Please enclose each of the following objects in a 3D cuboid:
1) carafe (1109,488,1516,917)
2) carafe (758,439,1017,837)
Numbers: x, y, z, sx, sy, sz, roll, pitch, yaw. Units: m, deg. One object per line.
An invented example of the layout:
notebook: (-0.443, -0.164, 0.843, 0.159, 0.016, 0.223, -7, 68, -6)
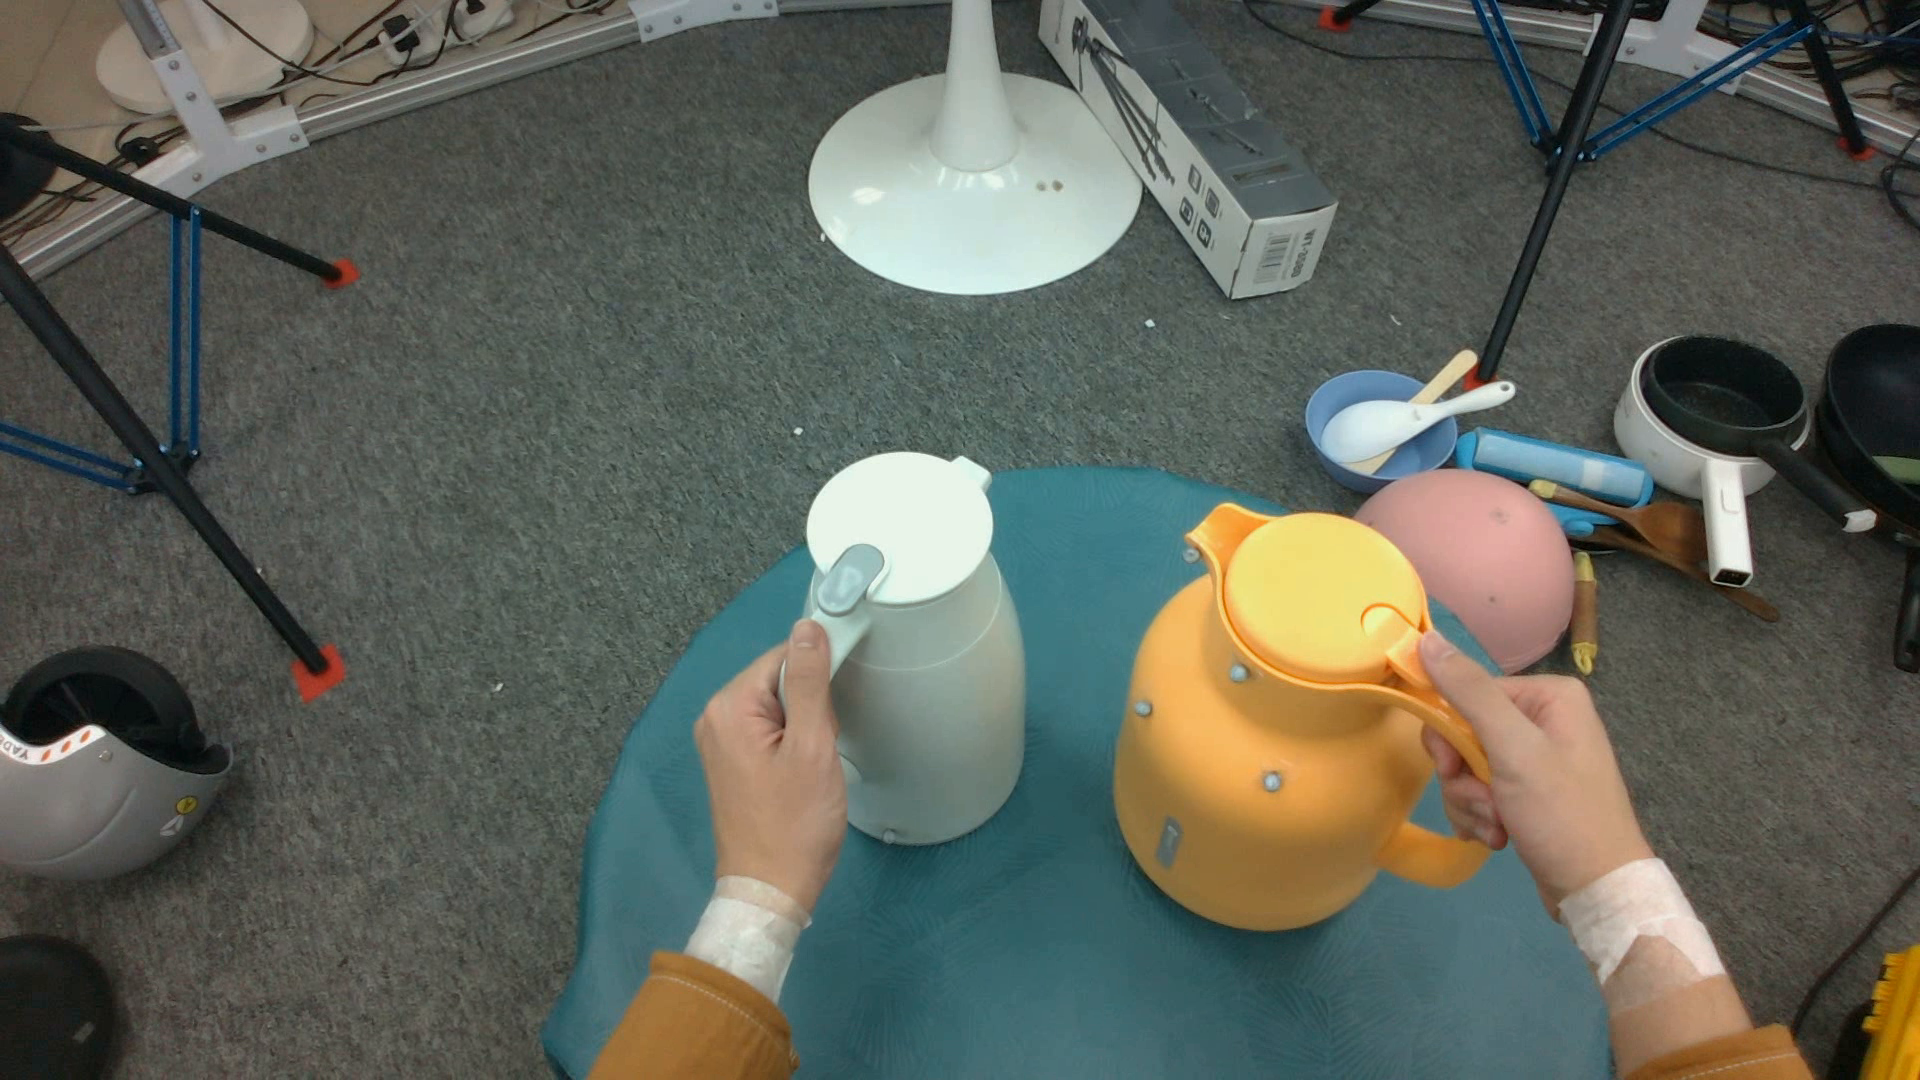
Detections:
carafe: (0.177, 0.098, 0.724, 0.164, 0.259, 0.202, -39, 61, -21)
carafe: (-0.043, 0.067, 0.754, 0.132, 0.247, 0.168, 30, 61, 20)
